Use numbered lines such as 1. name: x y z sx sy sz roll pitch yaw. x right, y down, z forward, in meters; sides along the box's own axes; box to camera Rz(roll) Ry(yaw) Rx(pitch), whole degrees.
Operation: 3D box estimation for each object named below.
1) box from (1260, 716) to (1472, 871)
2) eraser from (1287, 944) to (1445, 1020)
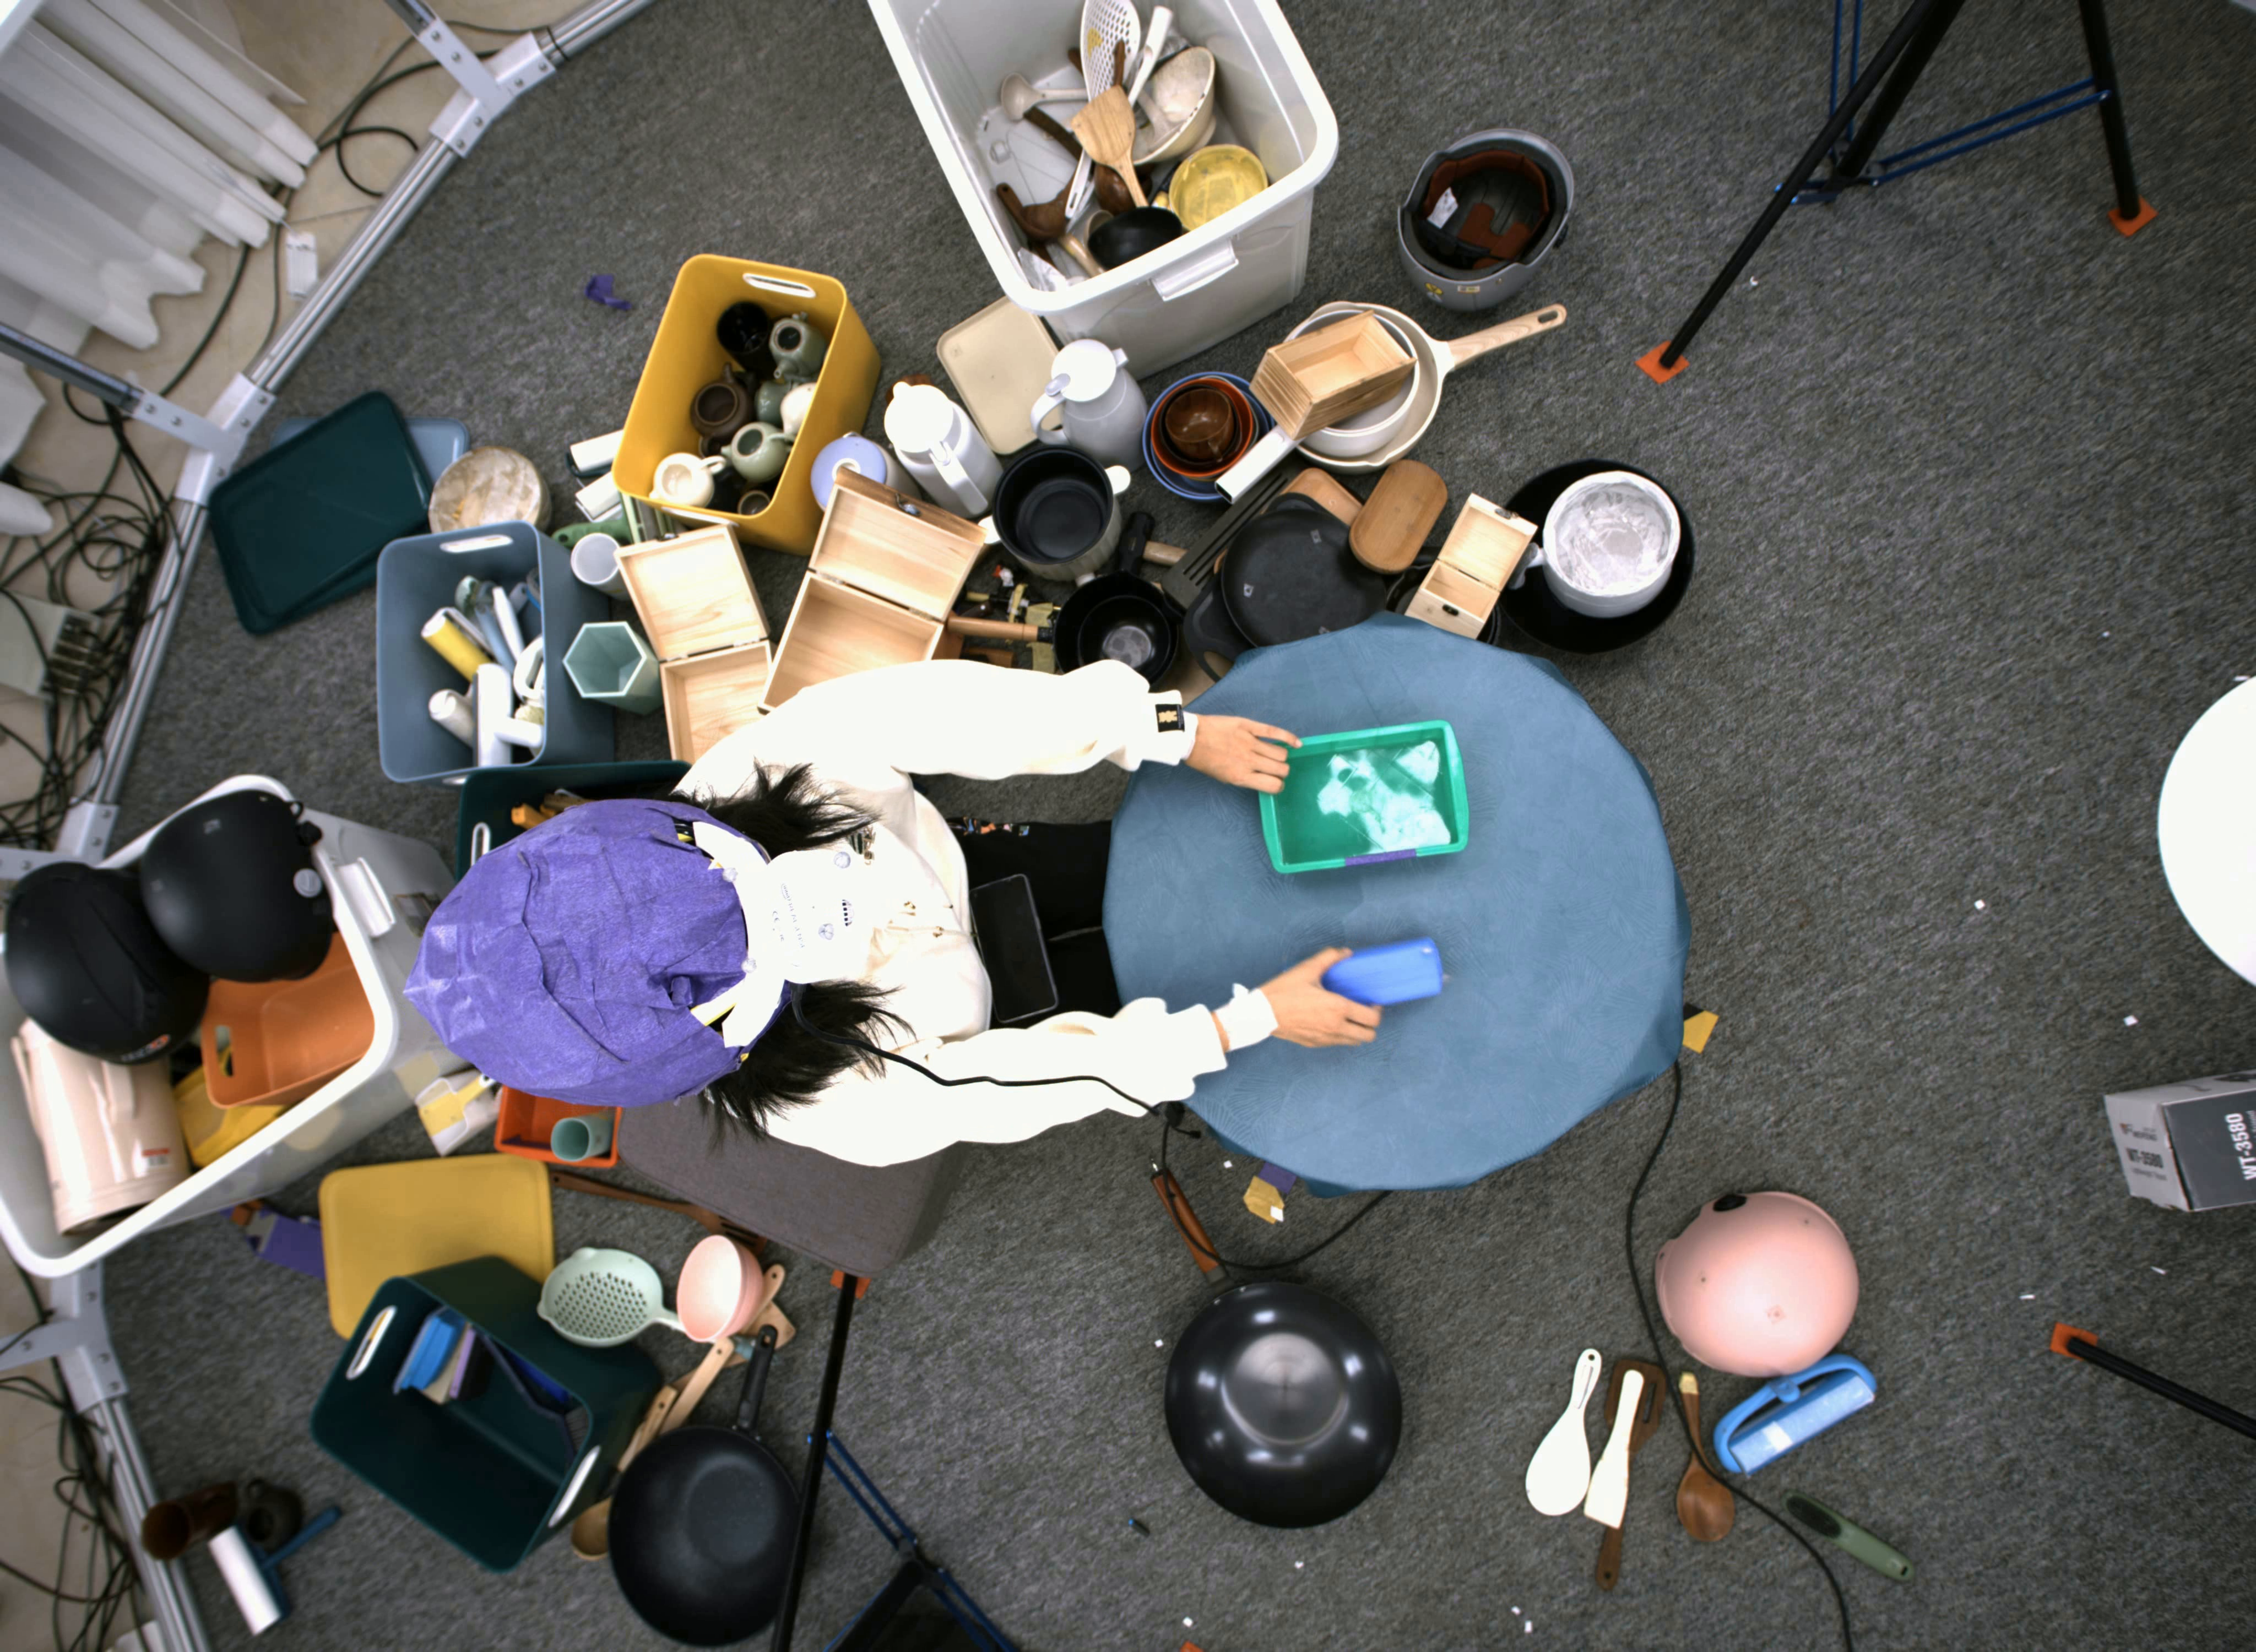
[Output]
1. box: 0.247 -0.031 1.438 0.211 0.065 0.138 -8 87 8
2. eraser: 0.244 0.161 1.420 0.163 0.047 0.054 -12 95 14
